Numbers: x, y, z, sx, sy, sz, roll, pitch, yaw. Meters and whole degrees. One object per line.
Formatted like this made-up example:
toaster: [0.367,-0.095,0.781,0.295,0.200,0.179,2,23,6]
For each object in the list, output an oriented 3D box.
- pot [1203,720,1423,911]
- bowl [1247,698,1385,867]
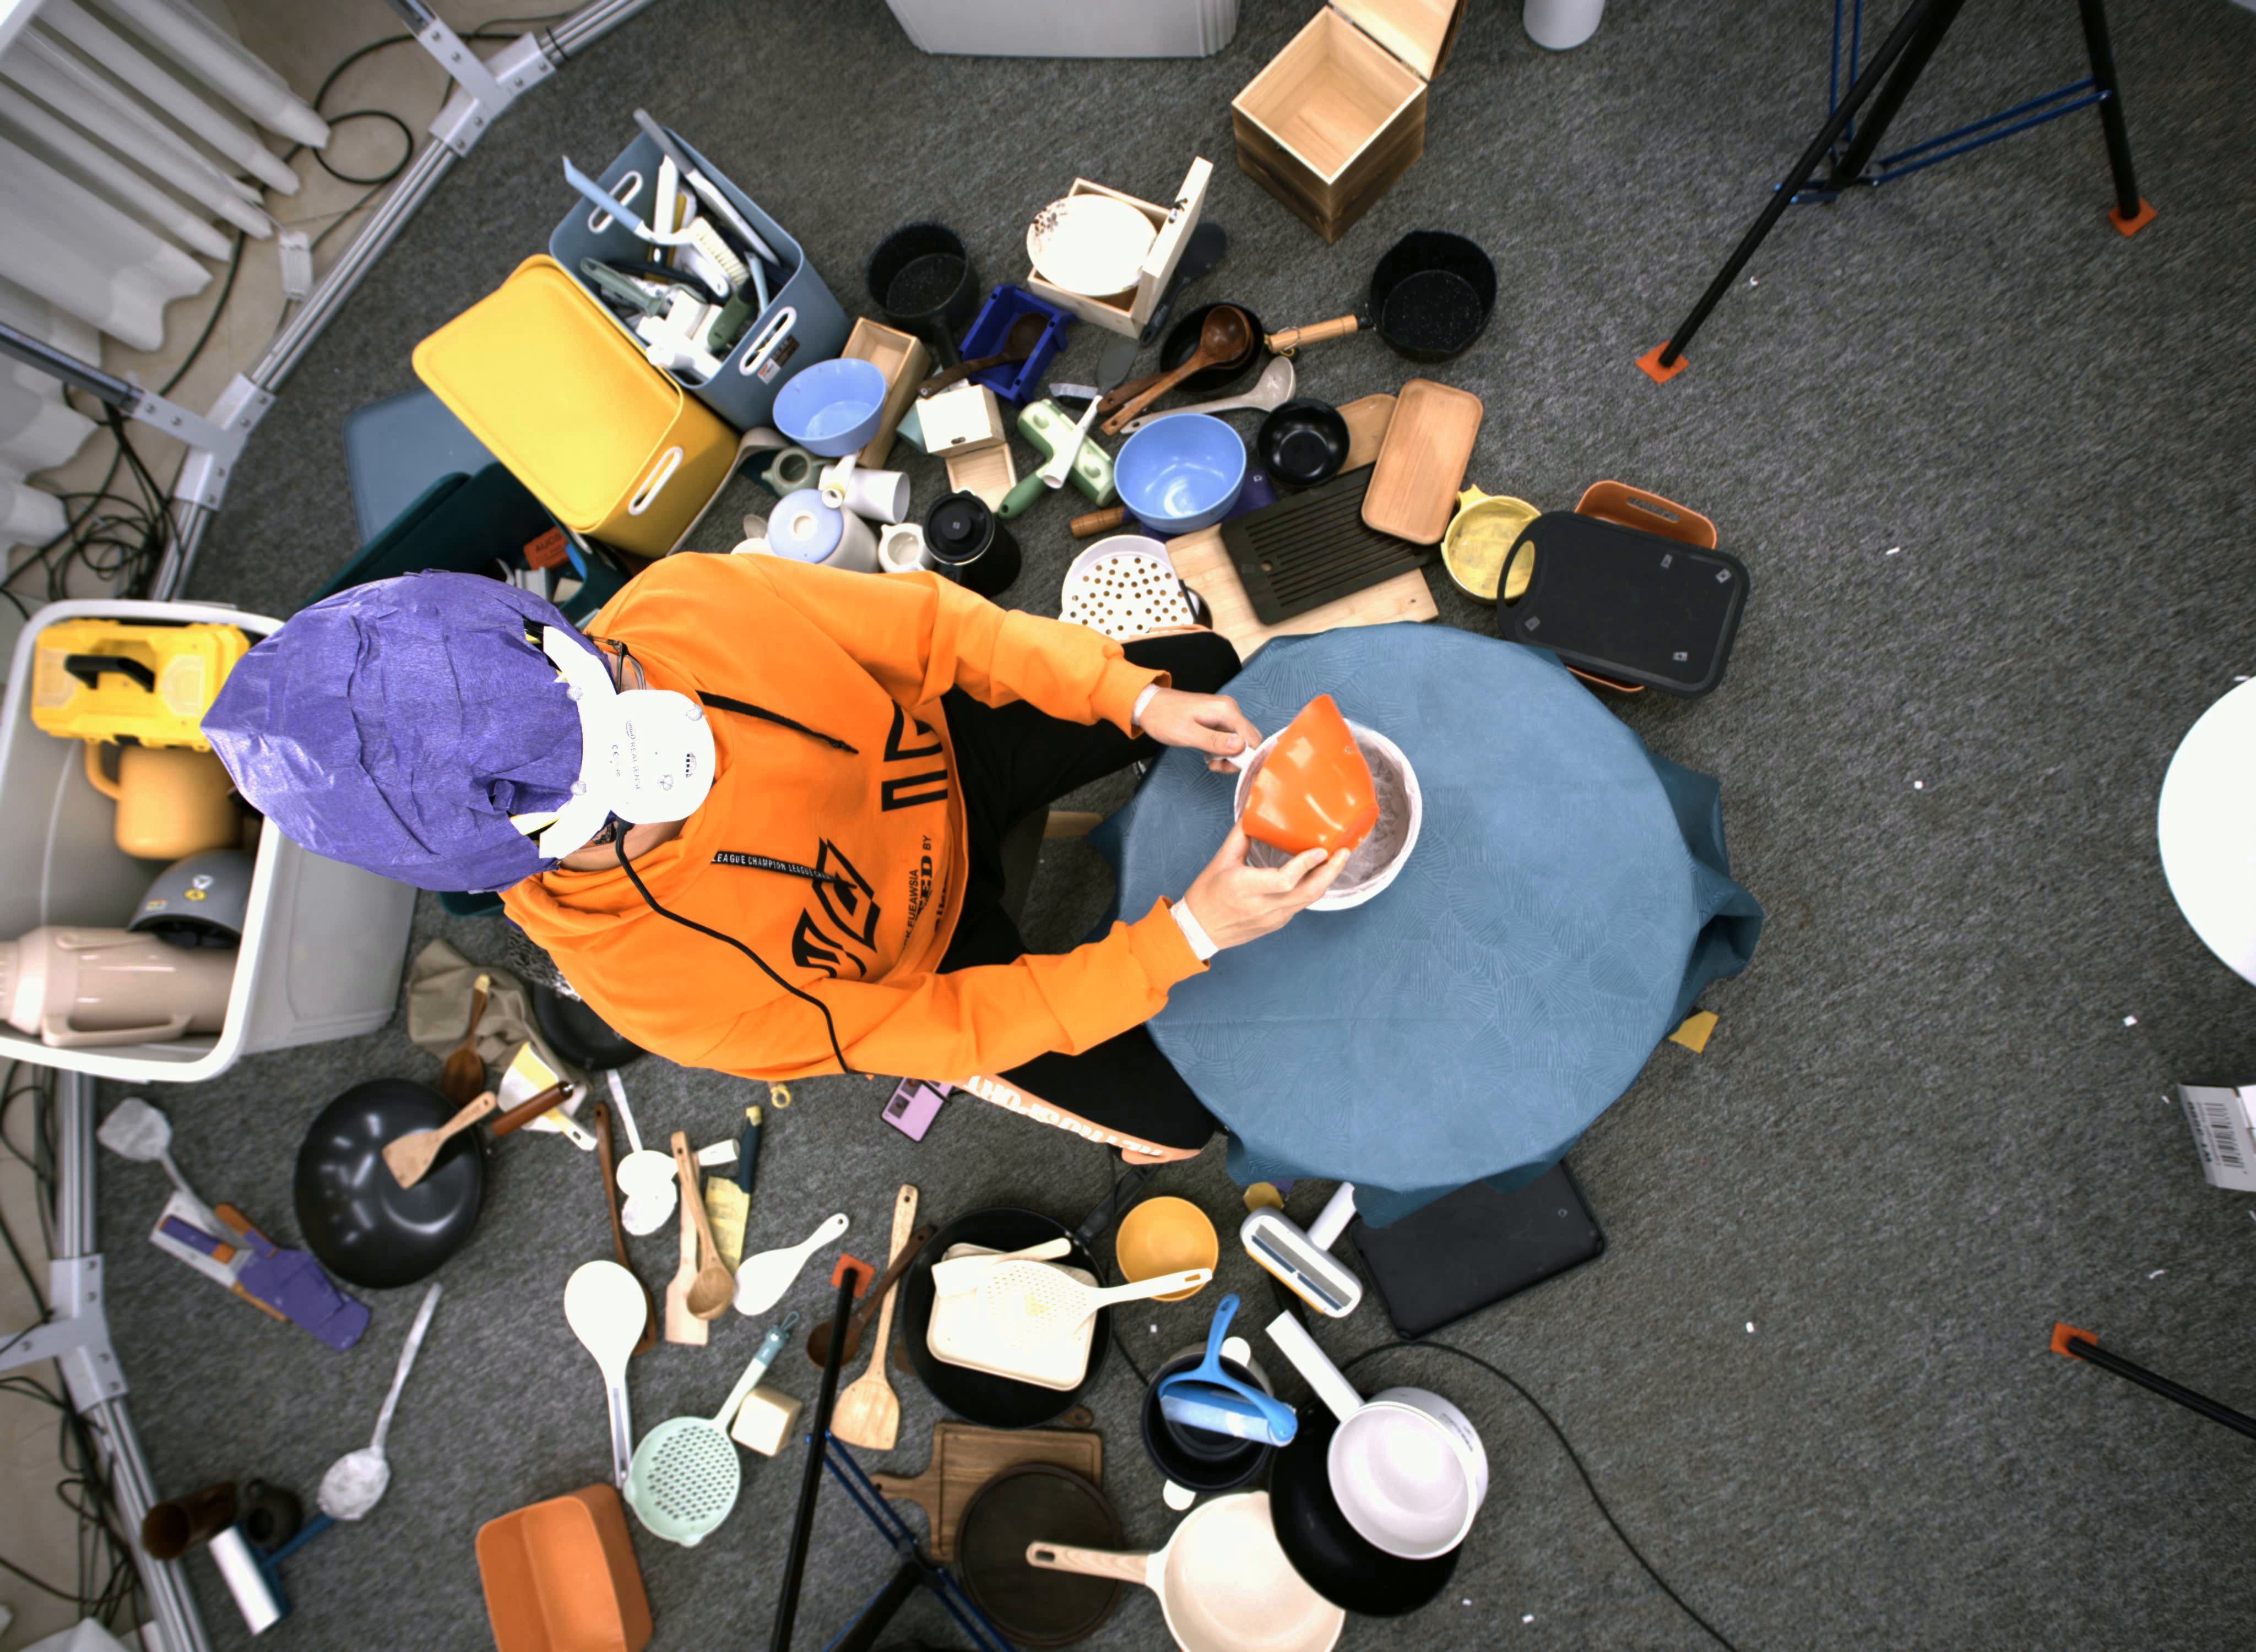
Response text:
pot: [0.173,-0.023,1.371,0.233,0.137,0.178,34,88,10]
bowl: [0.180,-0.029,1.251,0.104,0.149,0.148,42,93,22]
